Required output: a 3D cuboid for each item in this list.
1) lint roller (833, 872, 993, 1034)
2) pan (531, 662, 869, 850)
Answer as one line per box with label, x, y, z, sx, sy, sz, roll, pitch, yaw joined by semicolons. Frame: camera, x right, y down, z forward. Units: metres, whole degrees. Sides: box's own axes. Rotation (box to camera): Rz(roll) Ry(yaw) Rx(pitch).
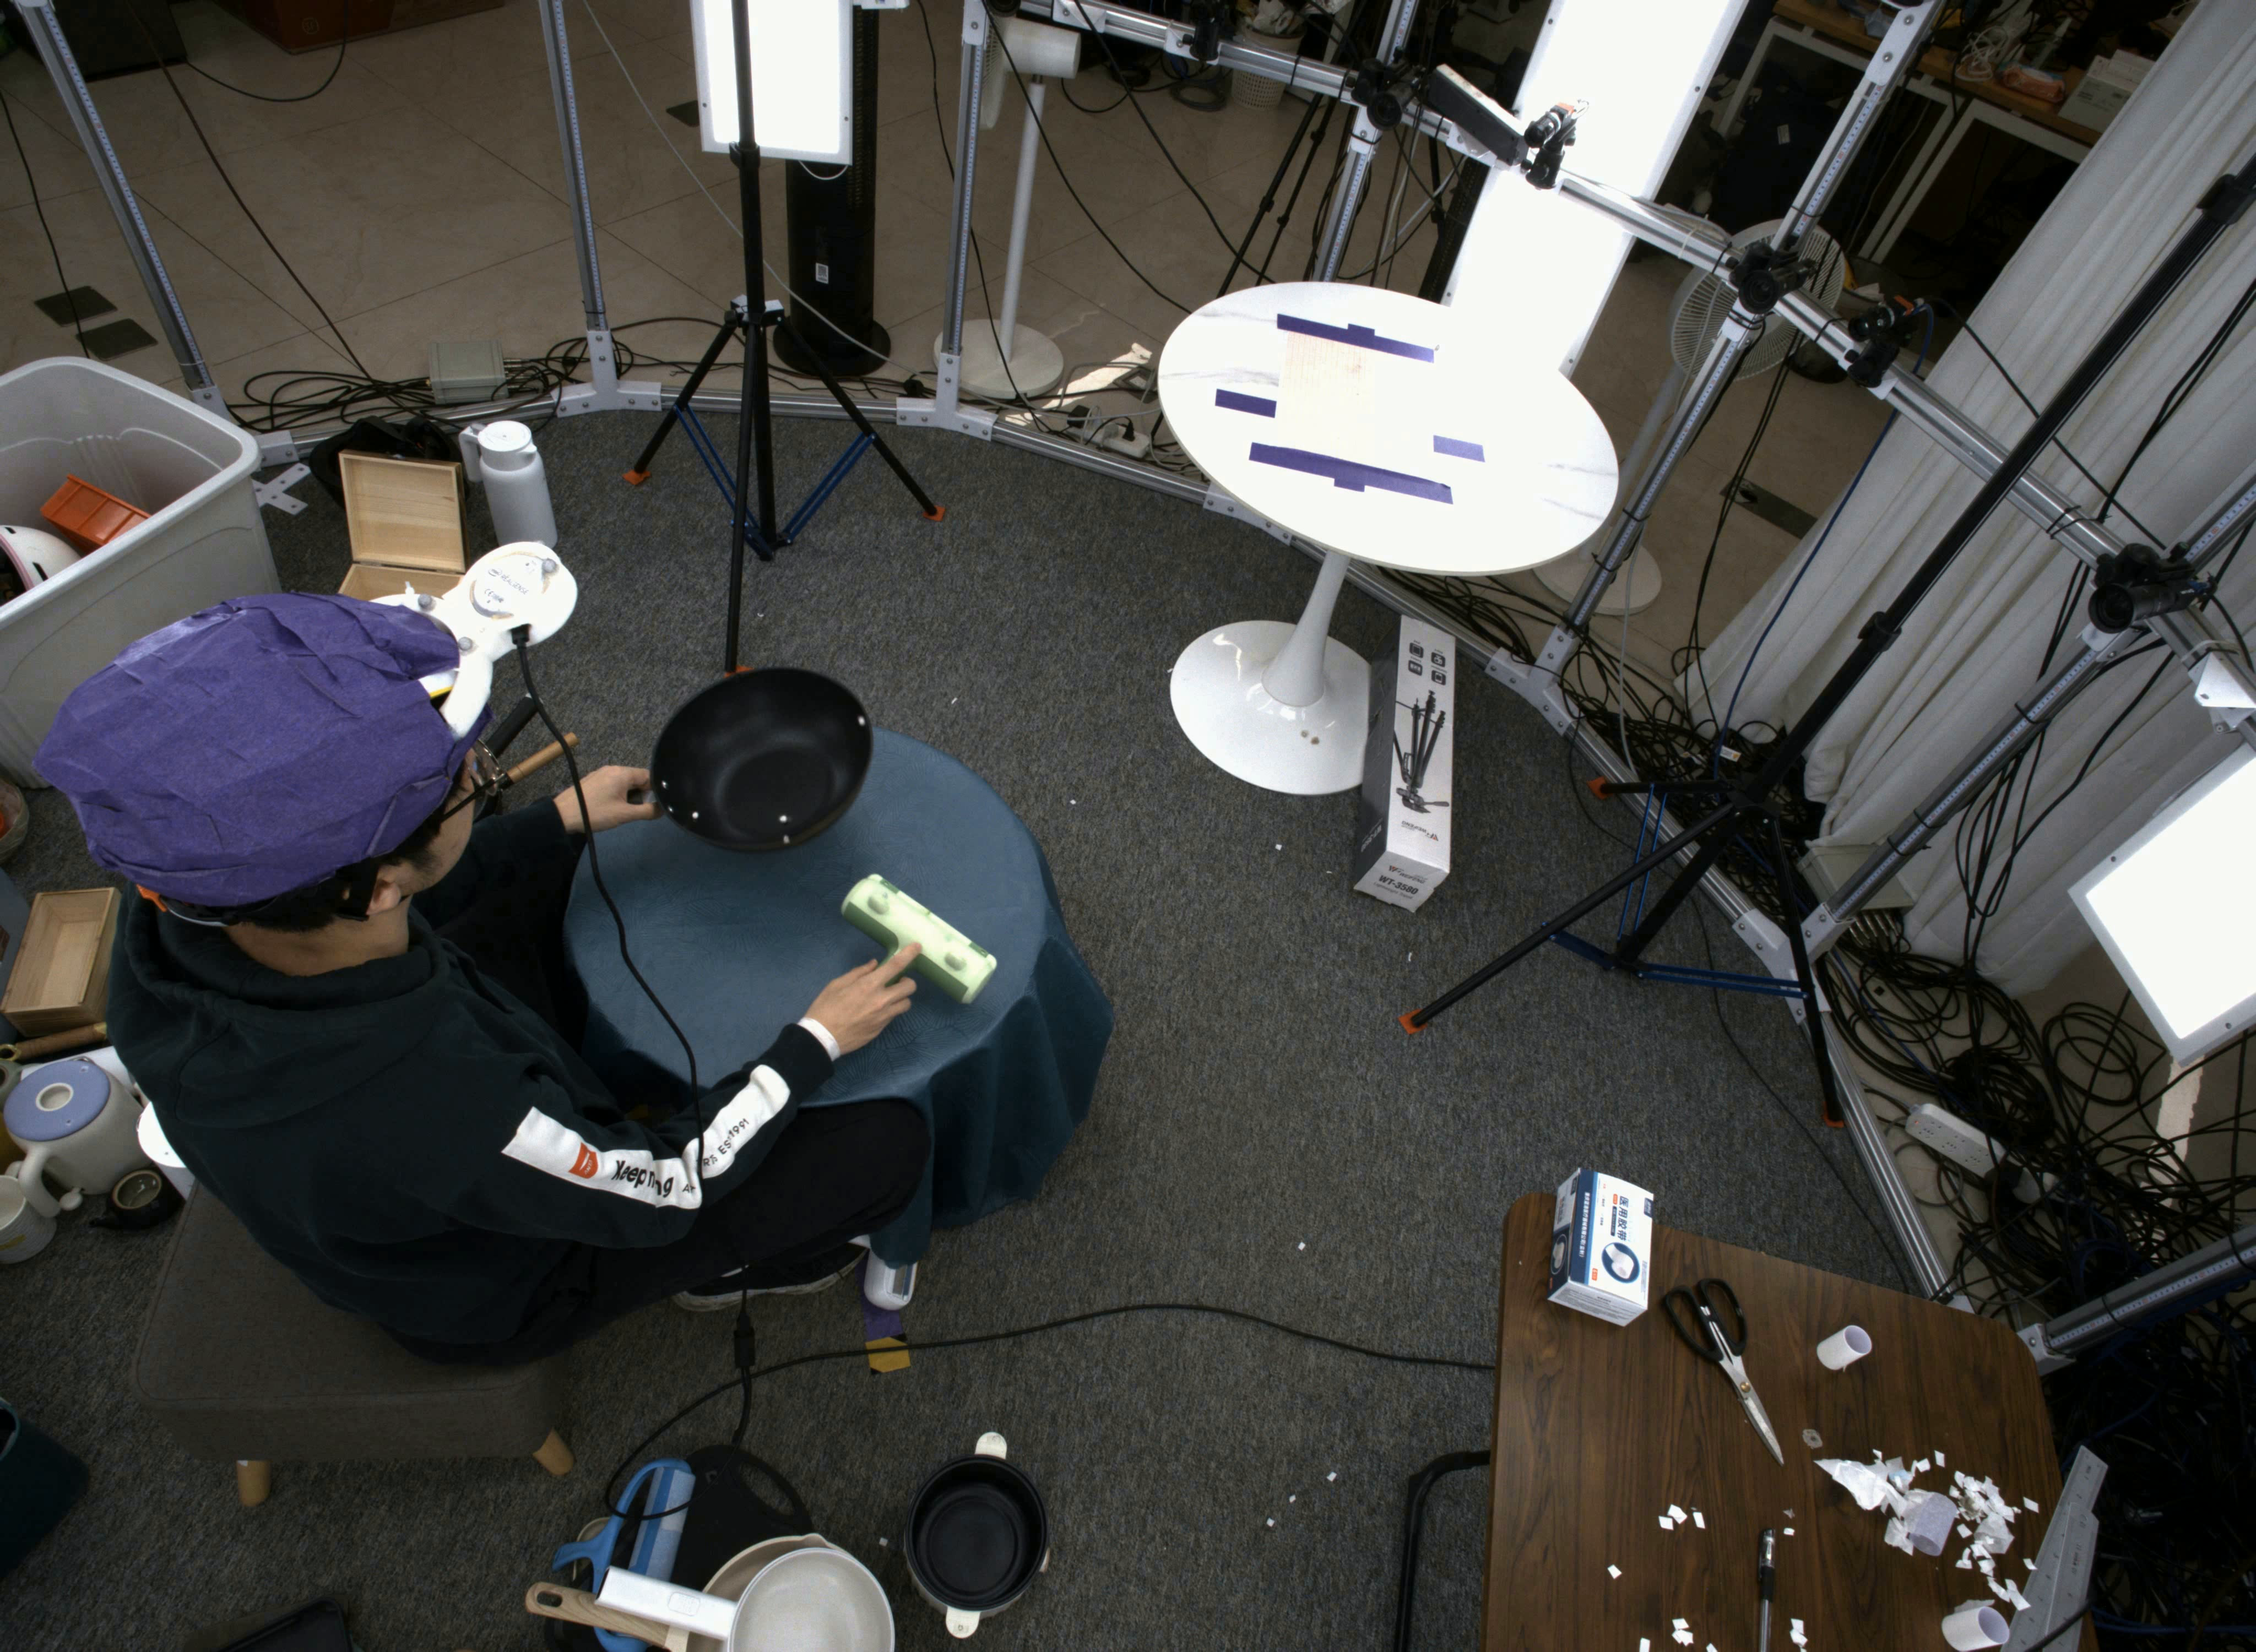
lint roller;-0.286;0.165;1.543;0.197;0.083;0.183;36;52;3
pan;-0.535;-0.042;1.609;0.462;0.089;0.280;-22;57;-12
